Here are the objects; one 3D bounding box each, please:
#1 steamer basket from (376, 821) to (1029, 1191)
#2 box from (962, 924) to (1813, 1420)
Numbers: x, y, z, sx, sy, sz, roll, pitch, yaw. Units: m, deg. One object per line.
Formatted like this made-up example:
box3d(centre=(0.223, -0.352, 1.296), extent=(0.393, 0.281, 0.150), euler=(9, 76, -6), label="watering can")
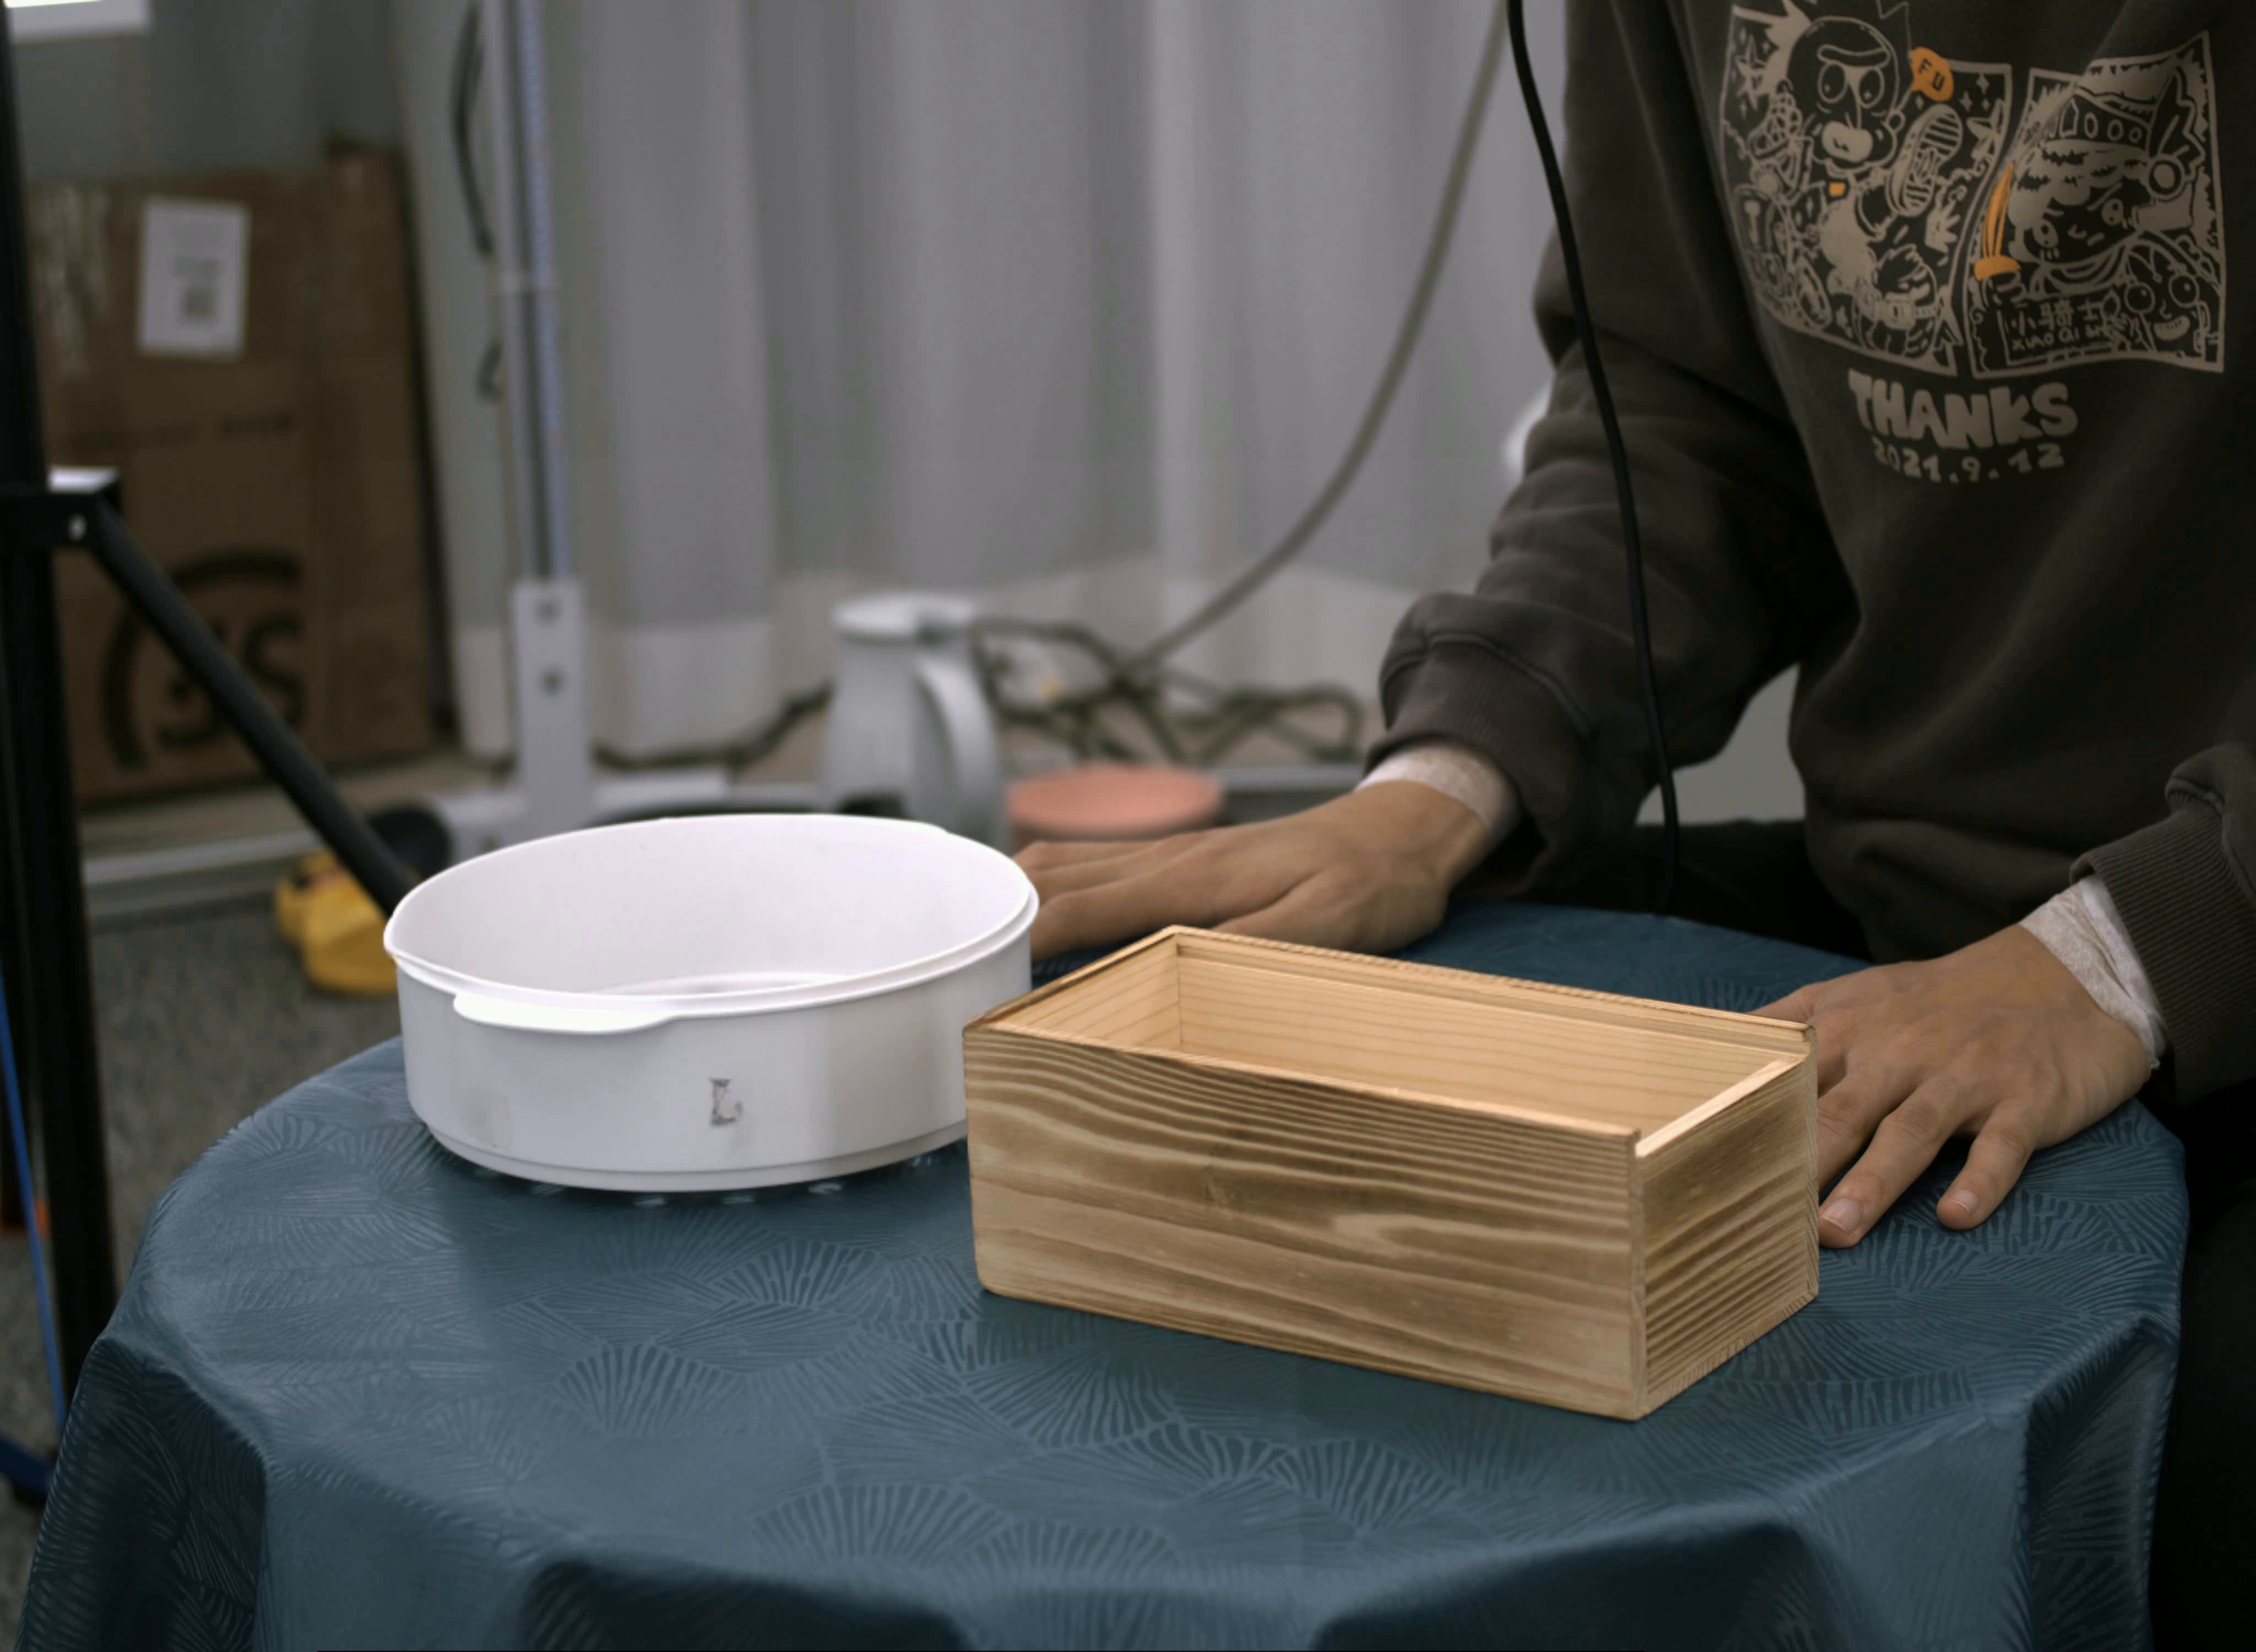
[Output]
box3d(centre=(-0.130, 0.055, 1.647), extent=(0.205, 0.069, 0.227), euler=(5, 16, 24), label="steamer basket")
box3d(centre=(0.071, 0.092, 1.460), extent=(0.215, 0.080, 0.105), euler=(8, 18, 34), label="box")
